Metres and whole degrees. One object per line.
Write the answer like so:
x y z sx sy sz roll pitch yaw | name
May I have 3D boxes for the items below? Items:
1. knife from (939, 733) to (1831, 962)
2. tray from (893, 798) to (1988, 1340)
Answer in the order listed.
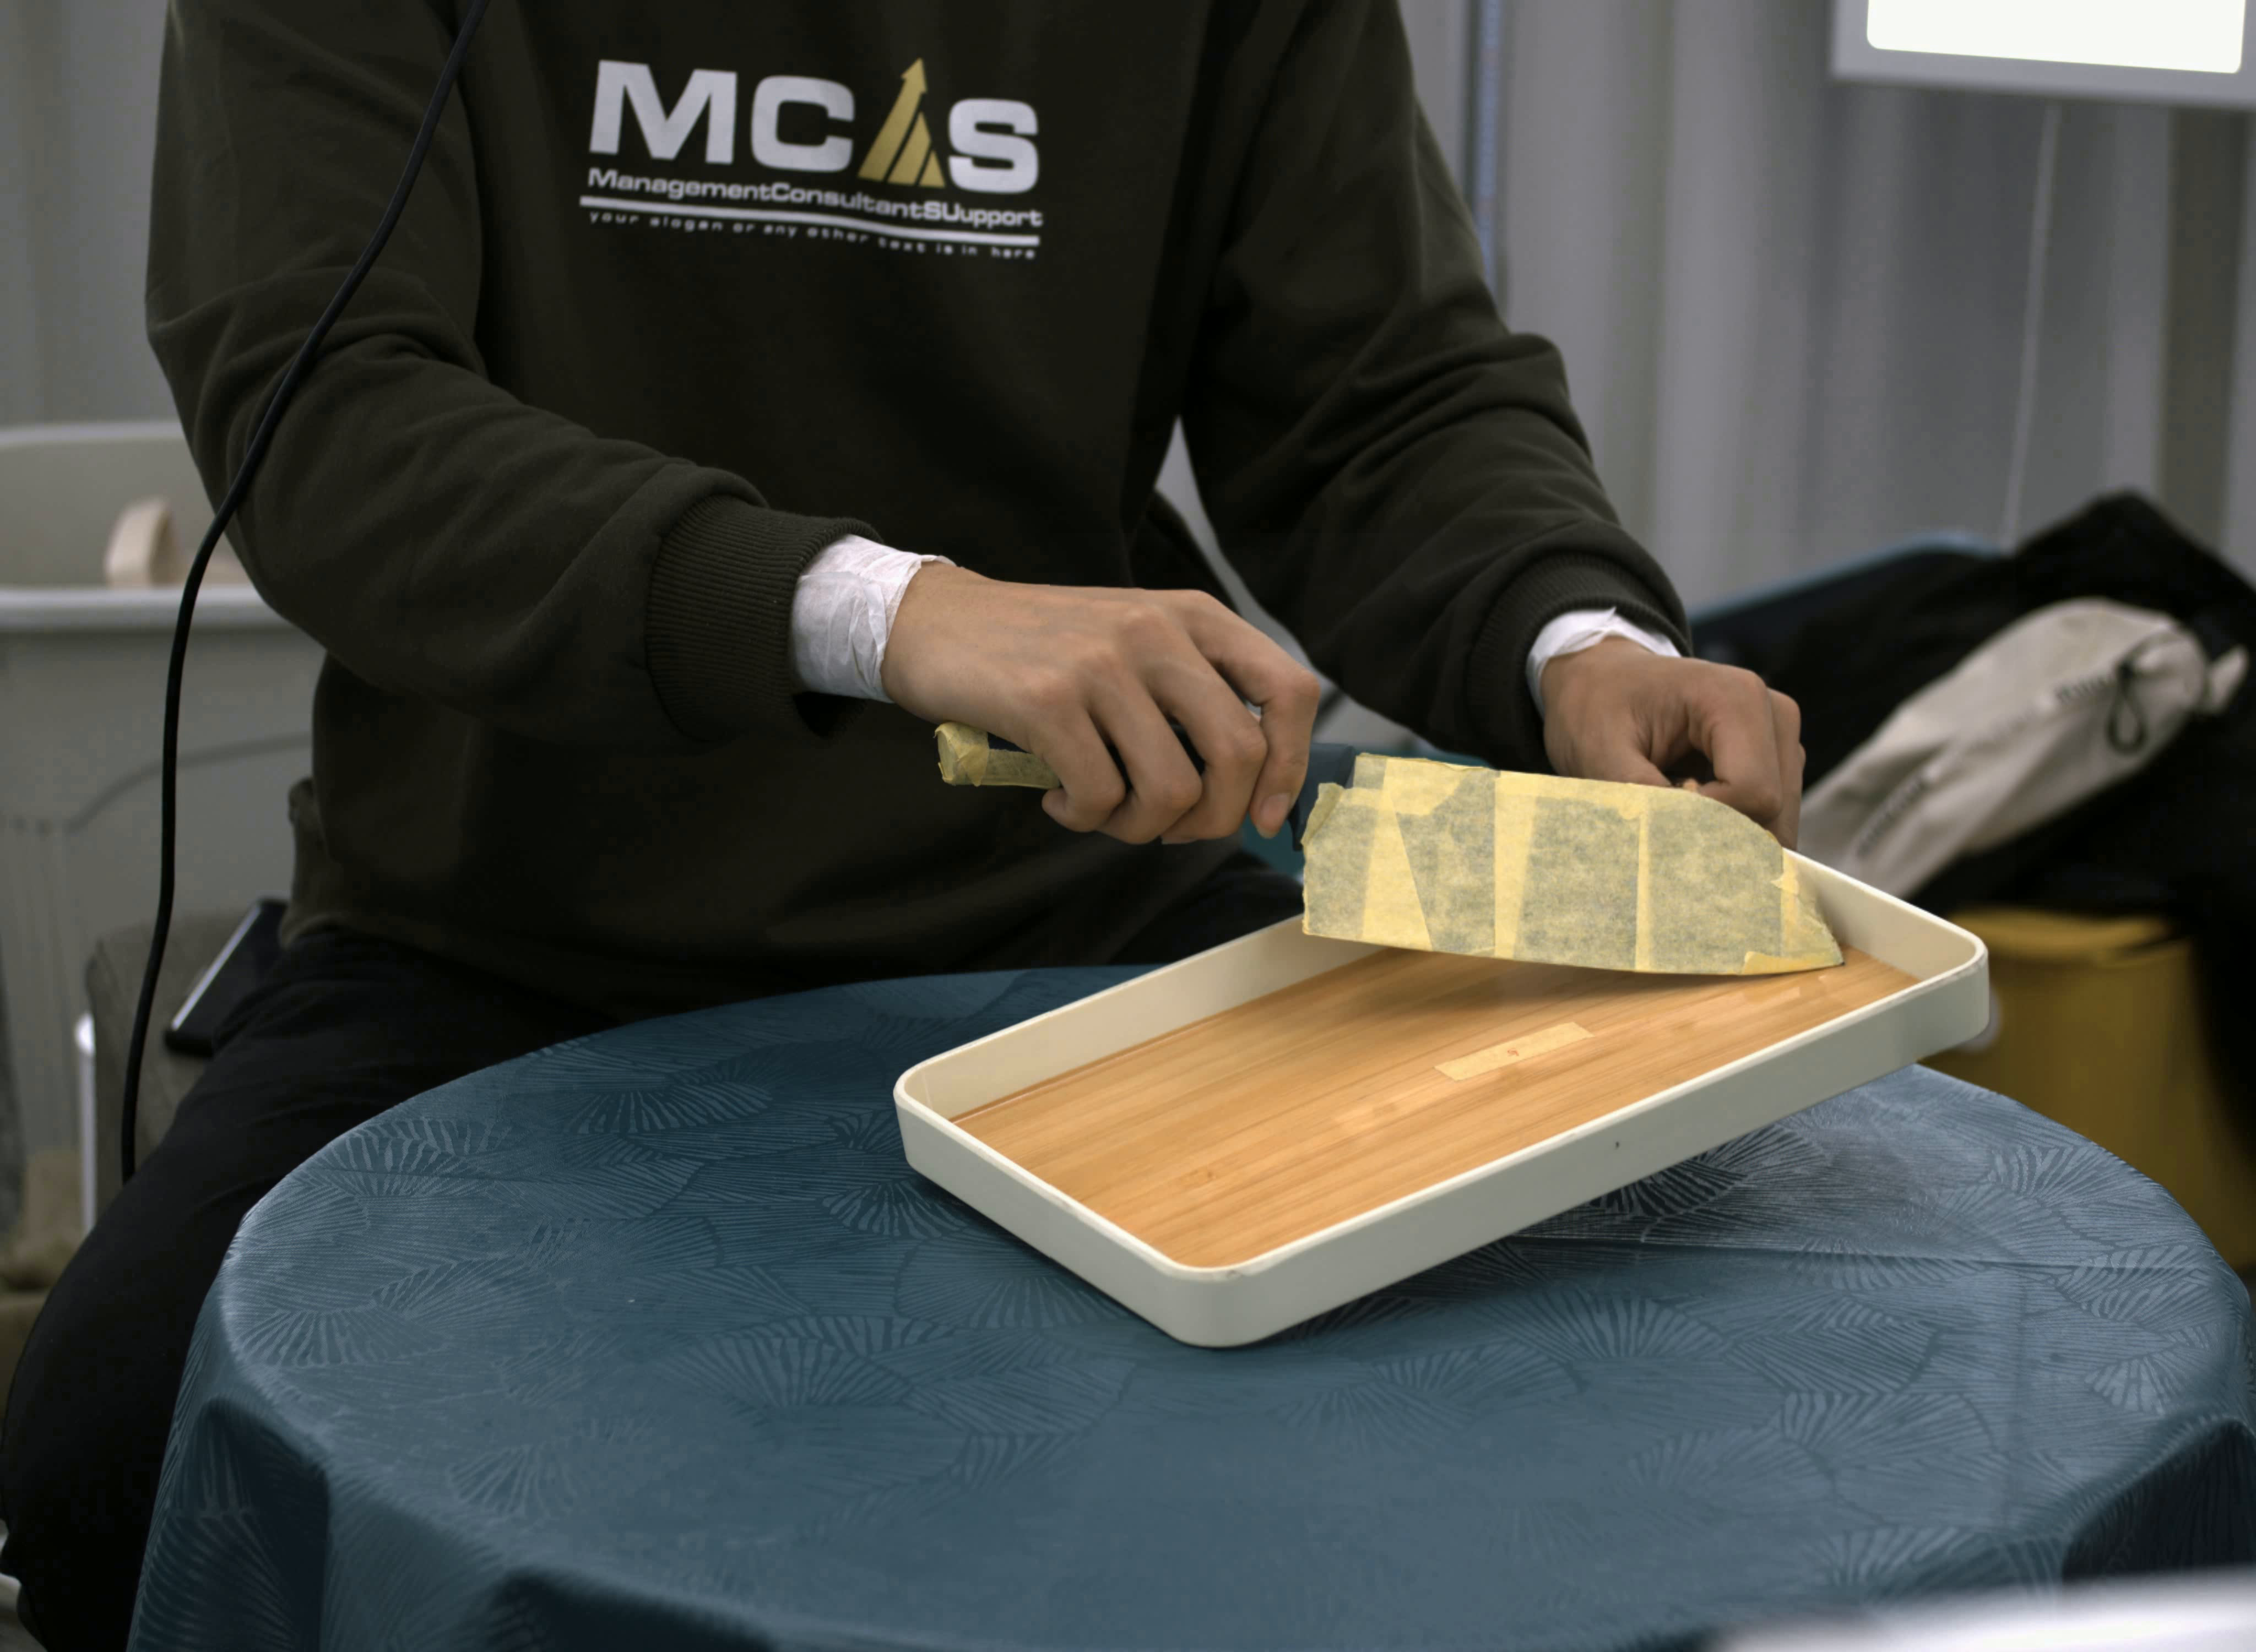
0.081 0.007 1.675 0.288 0.027 0.080 7 53 1 | knife
0.097 0.069 1.623 0.301 0.028 0.189 -20 25 -27 | tray
